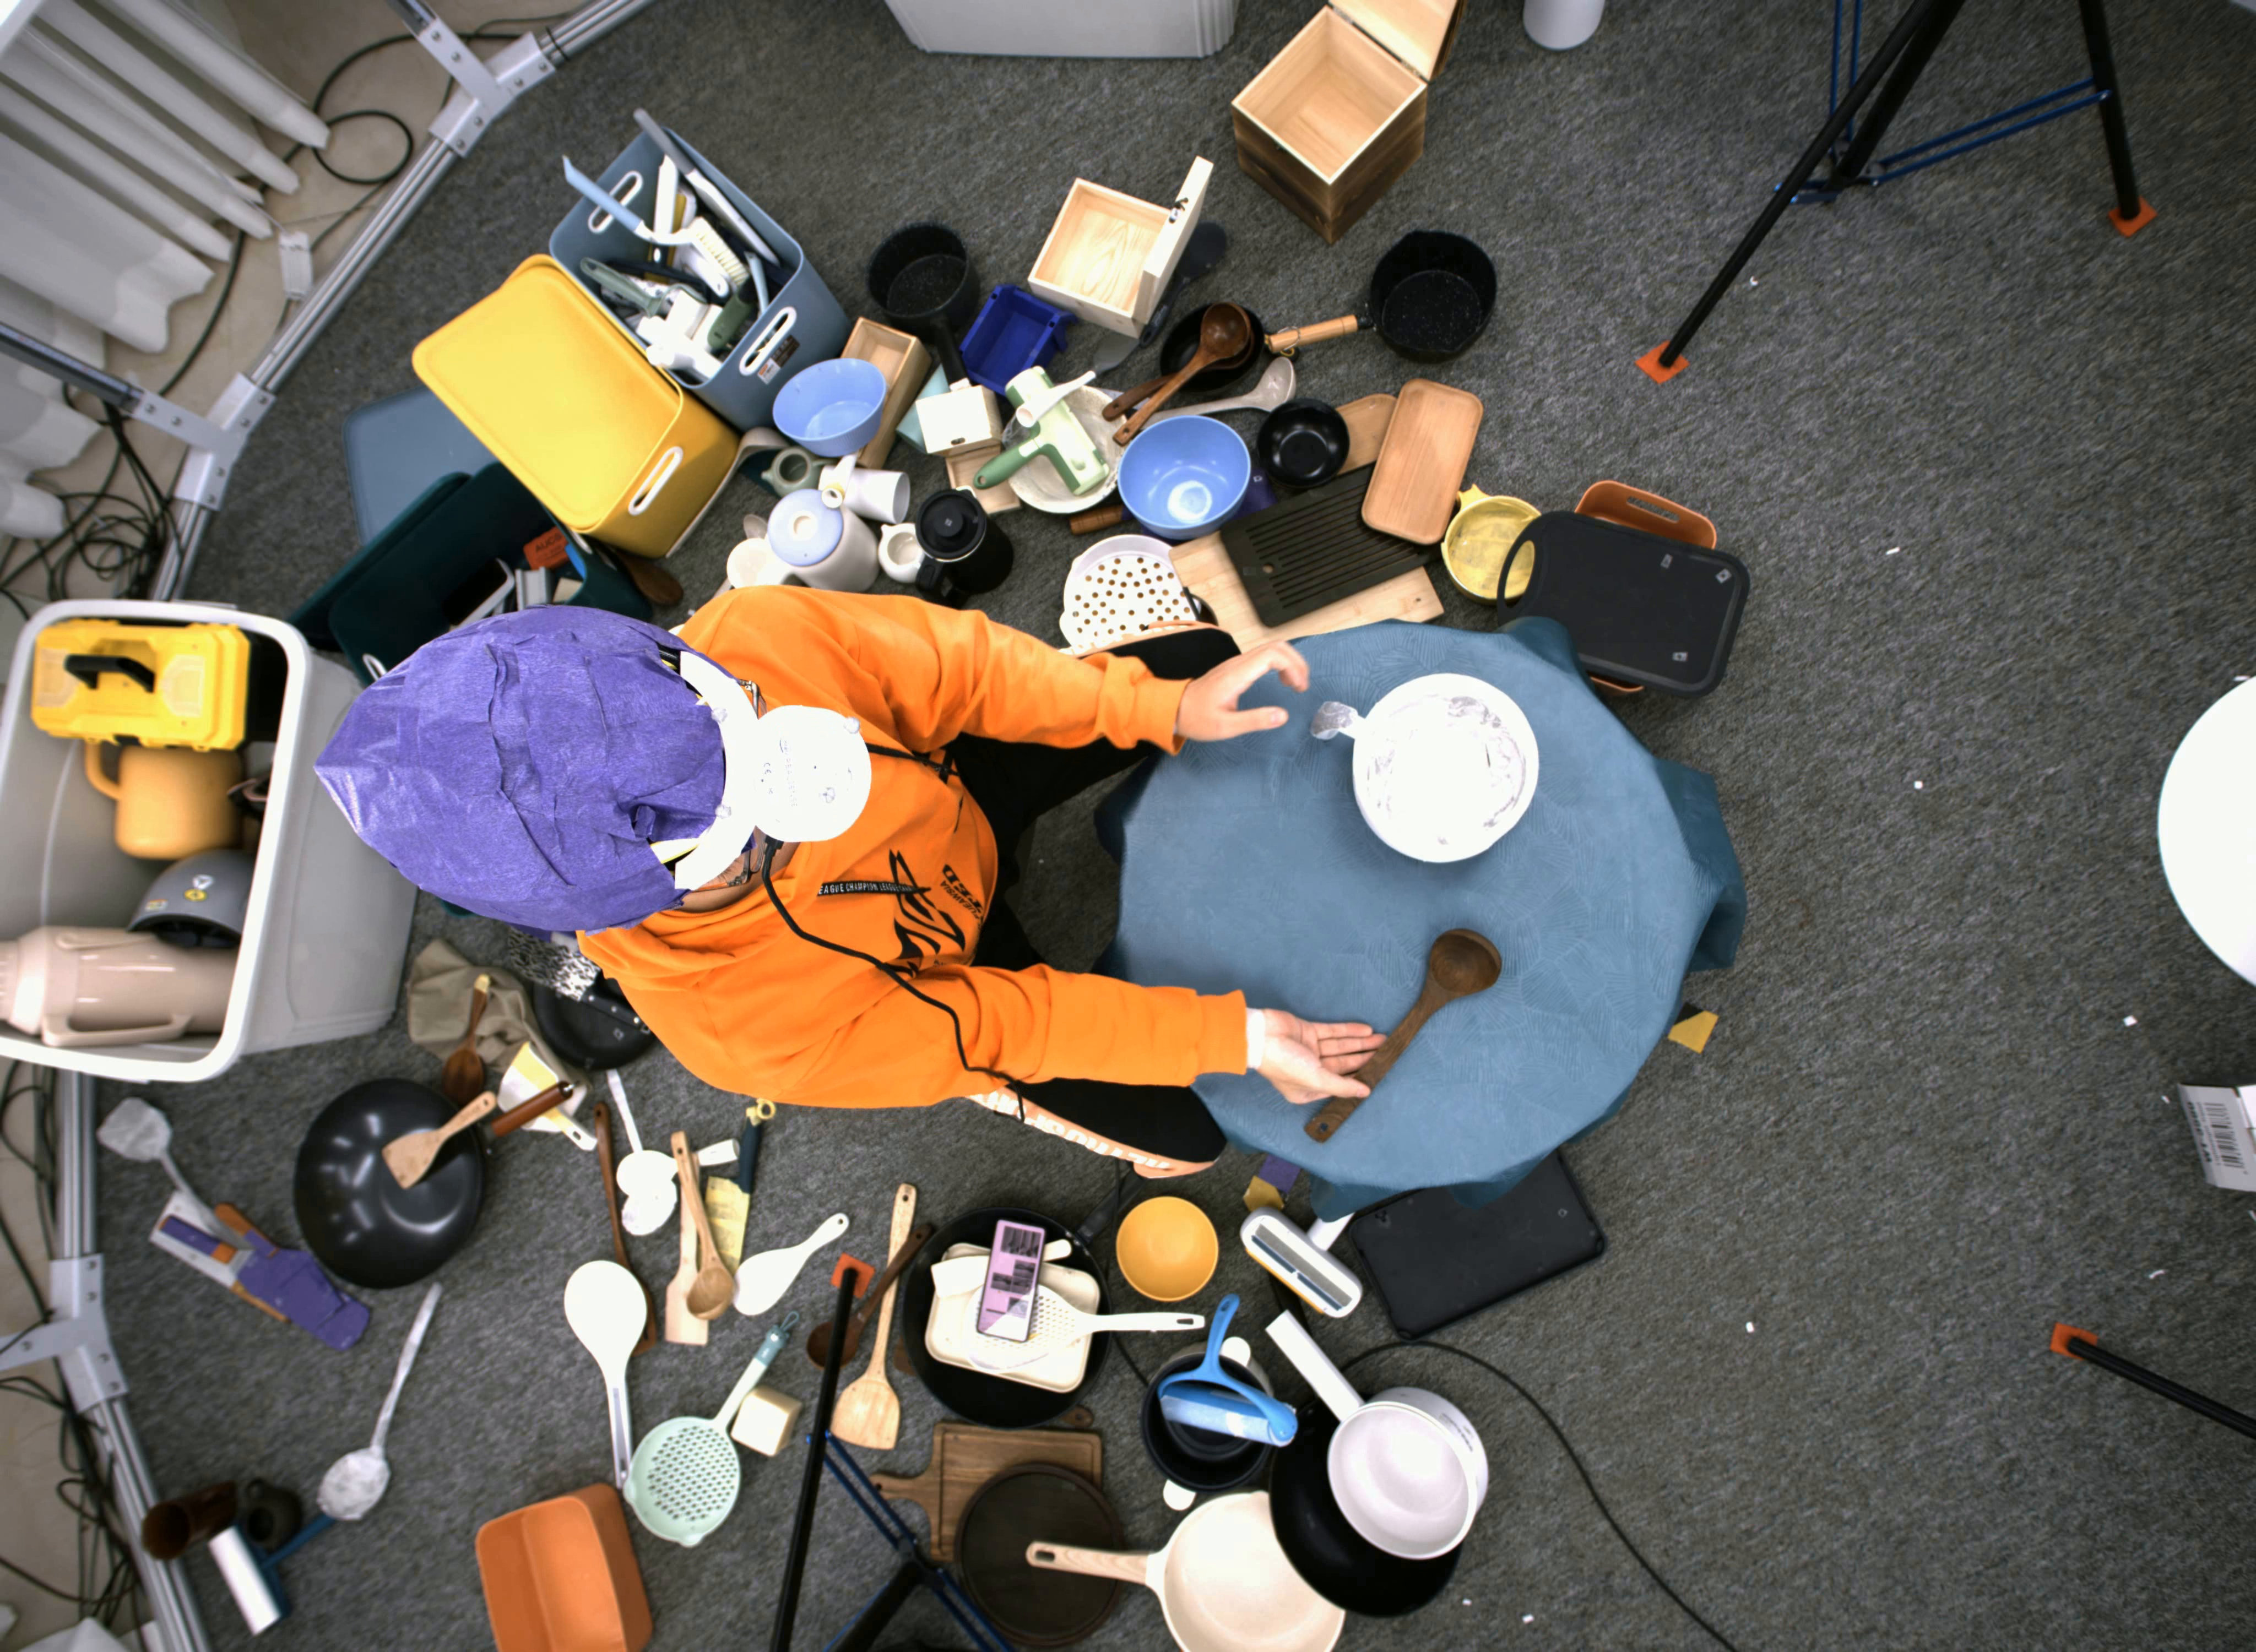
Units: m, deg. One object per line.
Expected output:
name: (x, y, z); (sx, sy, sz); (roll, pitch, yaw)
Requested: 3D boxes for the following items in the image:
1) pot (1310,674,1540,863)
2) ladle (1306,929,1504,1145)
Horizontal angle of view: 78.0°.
pot: (0.292, -0.067, 1.394); (0.233, 0.137, 0.178); (25, 90, 11)
ladle: (0.278, 0.219, 1.415); (0.076, 0.071, 0.275); (41, 94, 11)
